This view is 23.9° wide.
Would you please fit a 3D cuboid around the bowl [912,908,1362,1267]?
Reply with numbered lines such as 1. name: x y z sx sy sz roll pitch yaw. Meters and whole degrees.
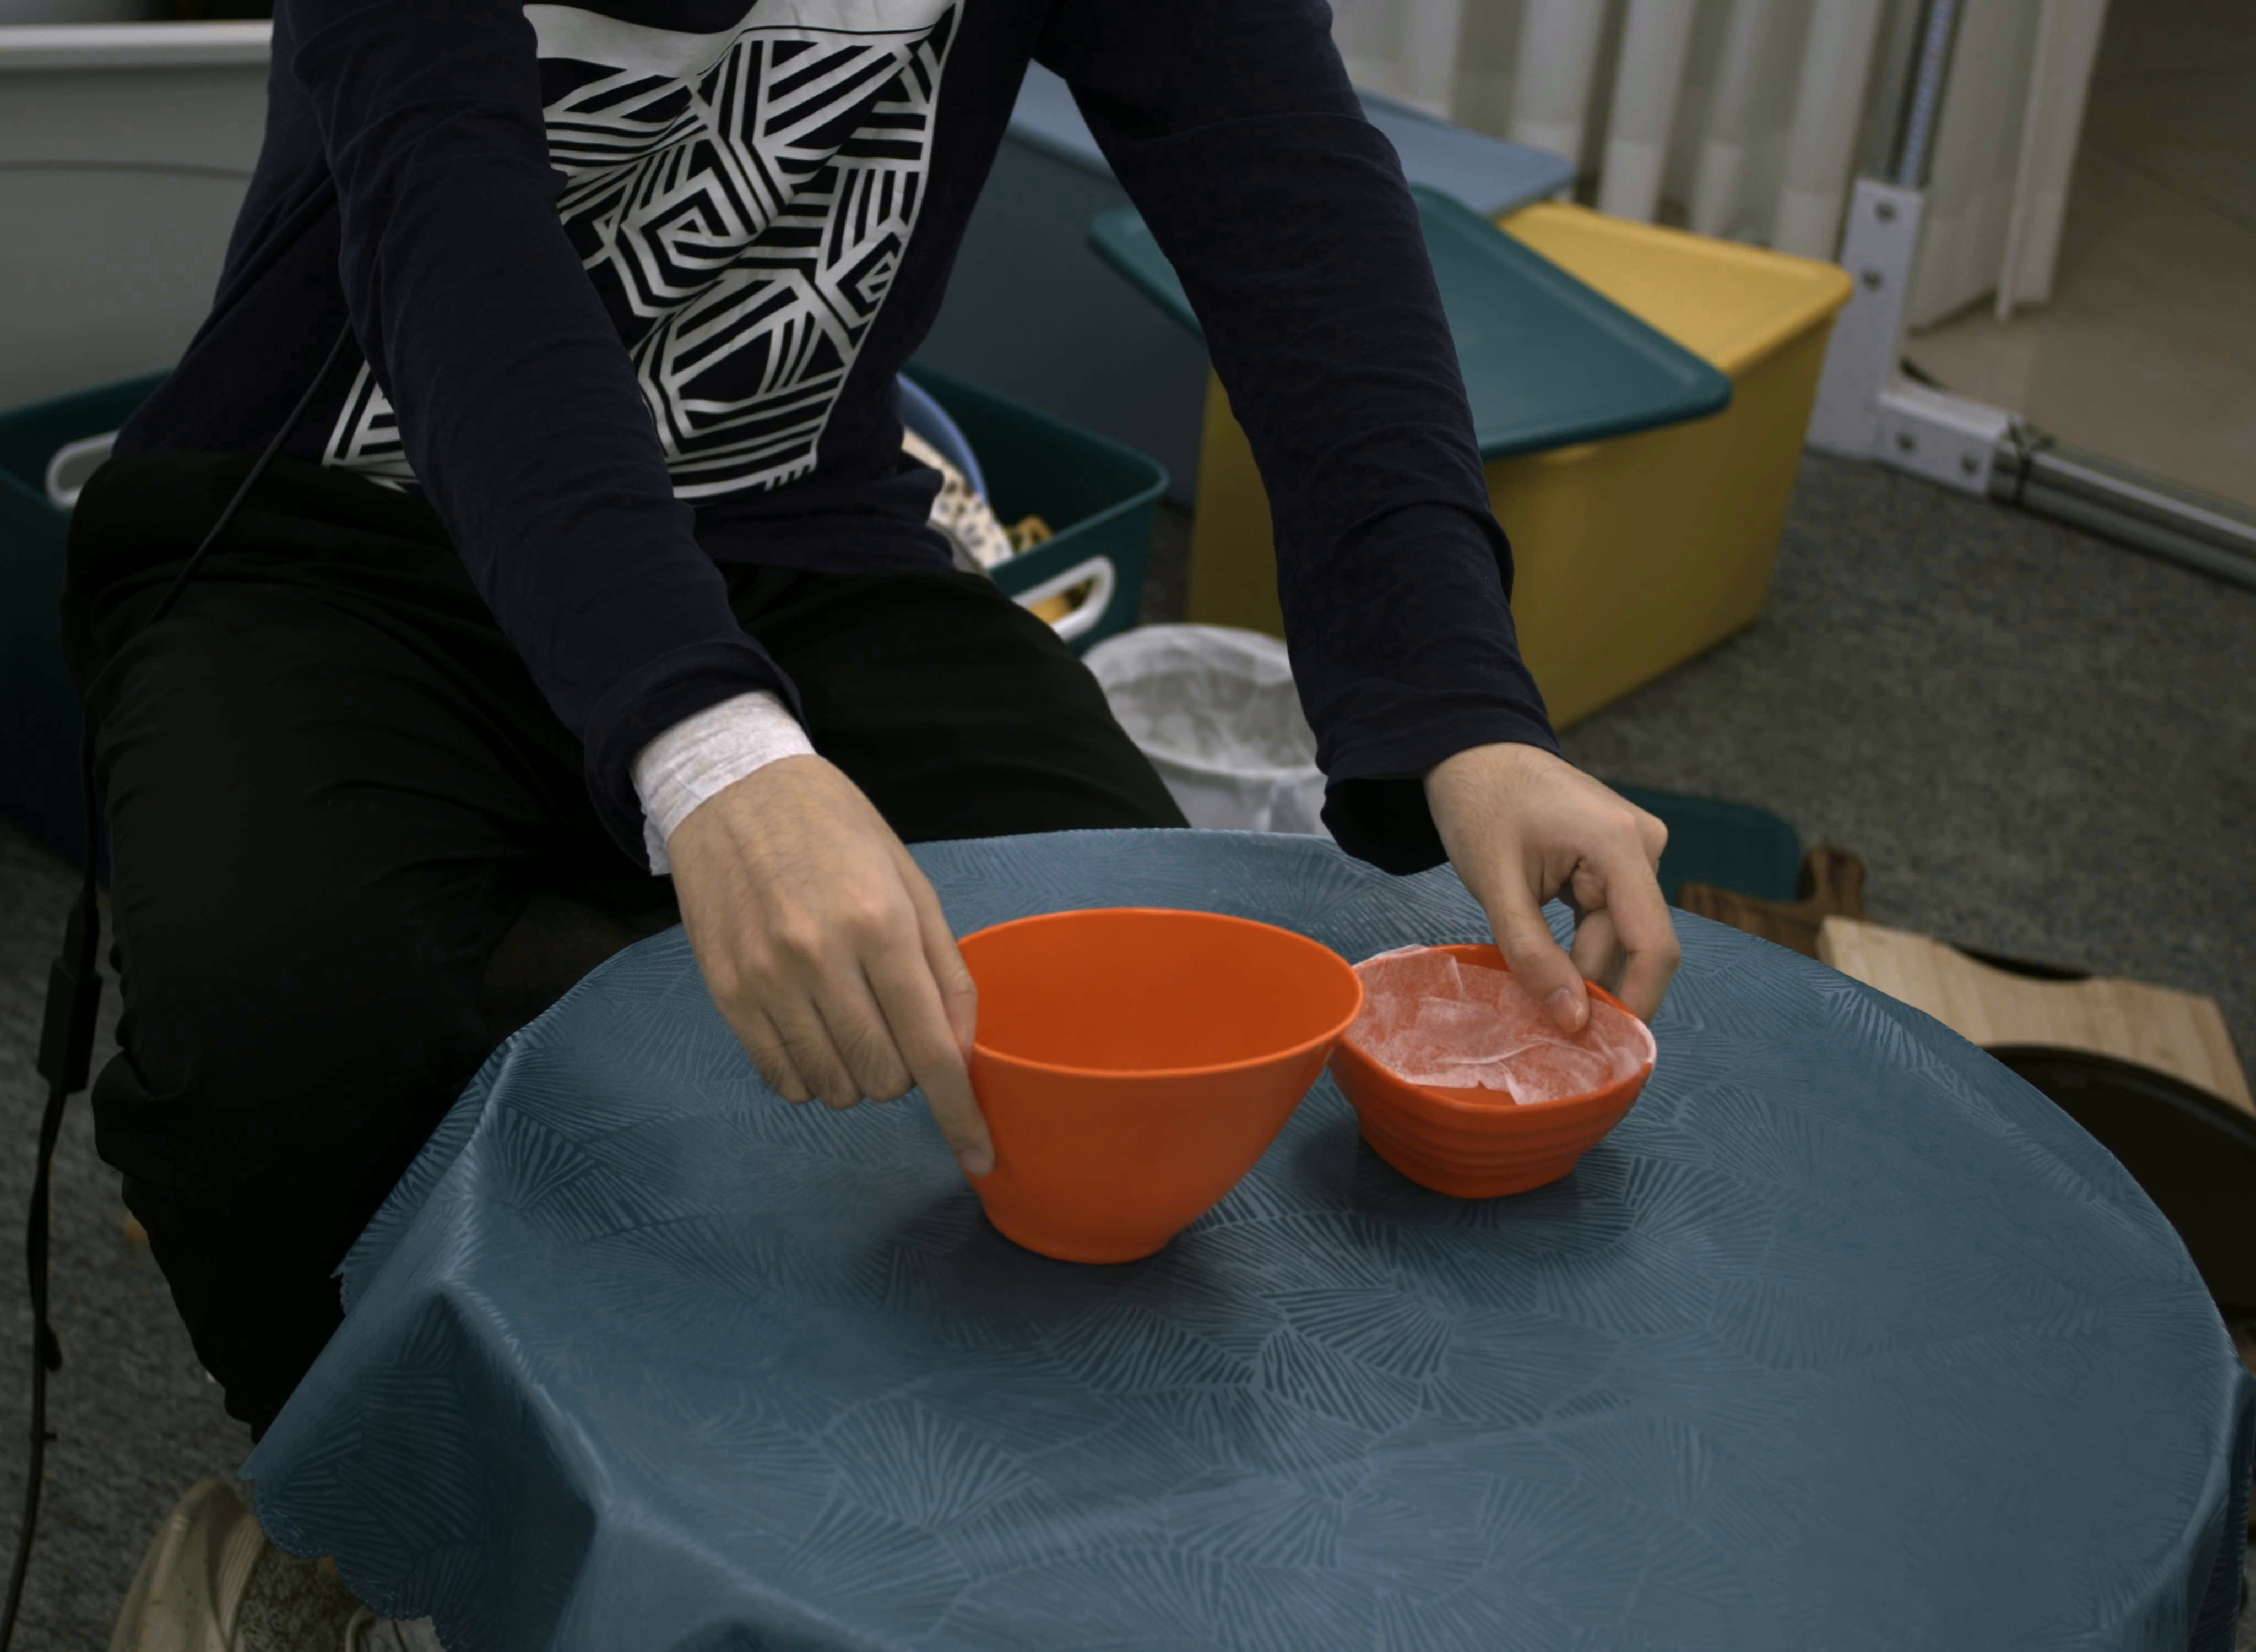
1. bowl: -0.002 0.090 1.759 0.147 0.104 0.149 5 26 -3

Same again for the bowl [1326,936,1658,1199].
1. bowl: 0.121 0.088 1.845 0.118 0.051 0.119 5 28 -3
